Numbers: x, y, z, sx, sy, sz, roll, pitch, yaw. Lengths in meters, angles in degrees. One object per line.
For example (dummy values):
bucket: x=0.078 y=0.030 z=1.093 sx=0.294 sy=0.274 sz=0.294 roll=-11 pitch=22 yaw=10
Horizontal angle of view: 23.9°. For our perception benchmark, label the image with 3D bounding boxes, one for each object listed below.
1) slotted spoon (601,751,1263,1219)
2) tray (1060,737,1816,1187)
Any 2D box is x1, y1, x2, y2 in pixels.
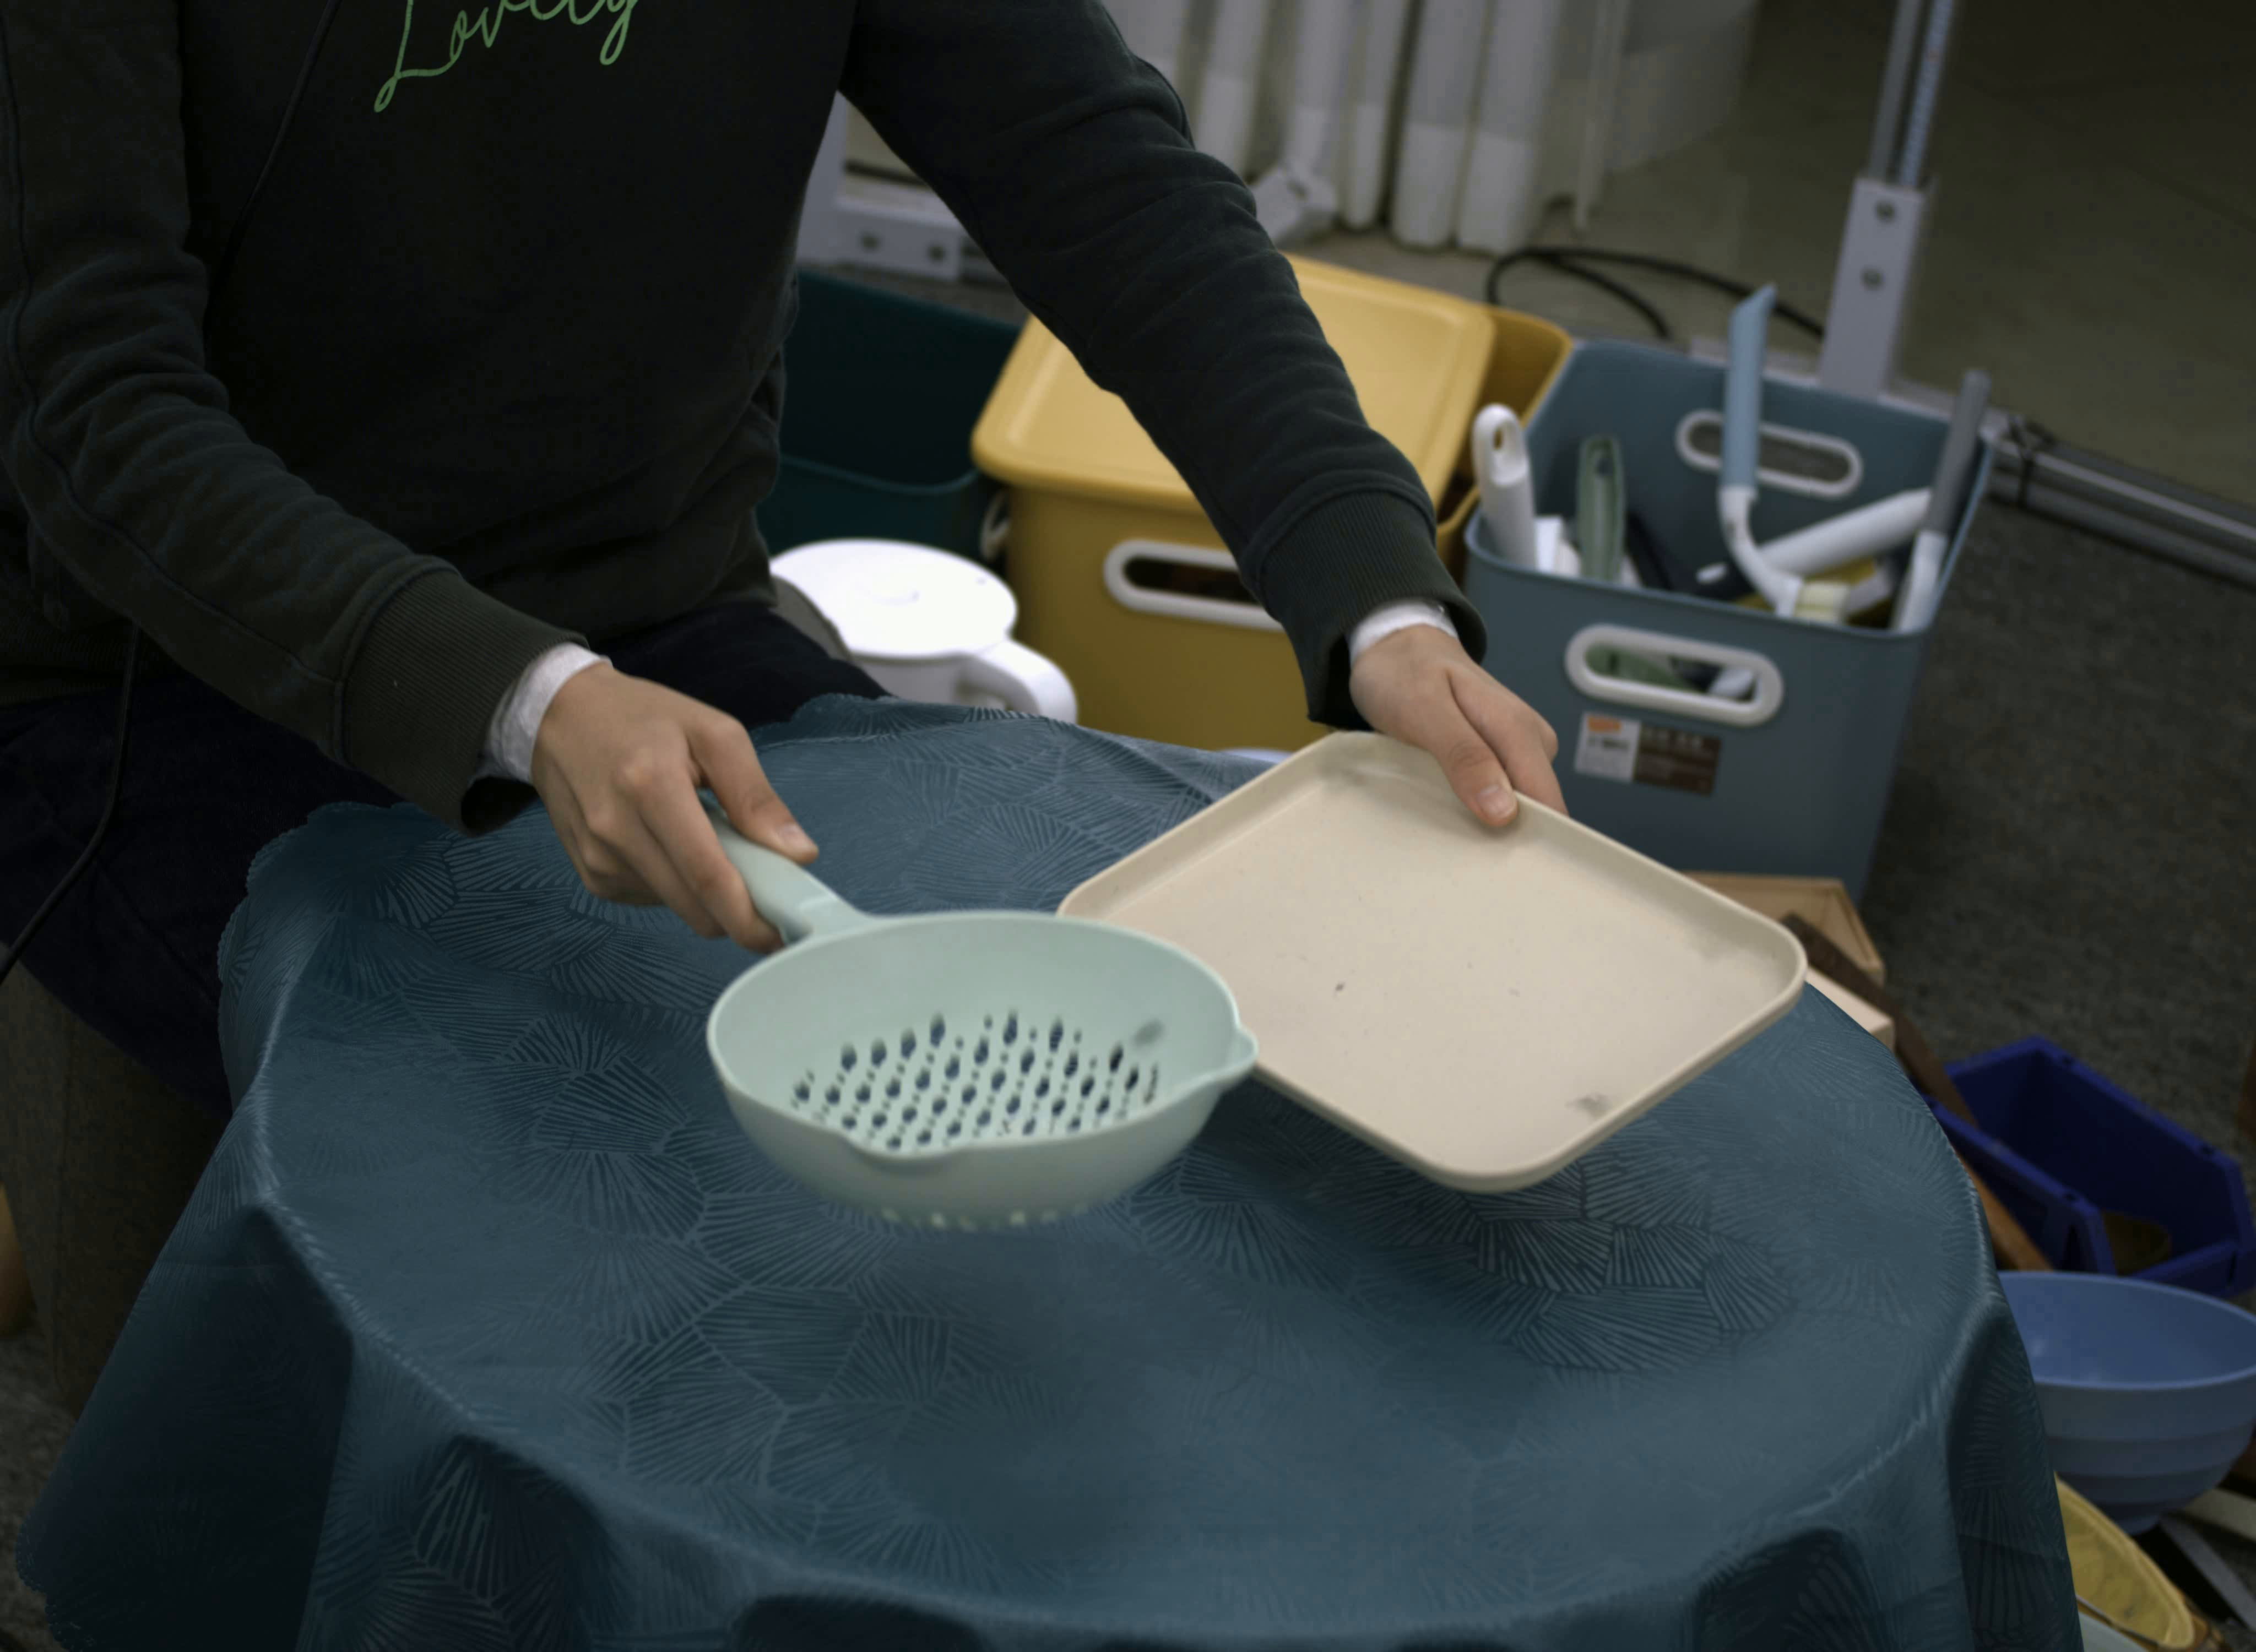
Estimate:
slotted spoon: x=-0.096 y=0.036 z=1.758 sx=0.168 sy=0.075 sz=0.362 roll=-13 pitch=34 yaw=-26
tray: x=0.104 y=0.045 z=1.827 sx=0.171 sy=0.017 sz=0.241 roll=-31 pitch=39 yaw=-30
